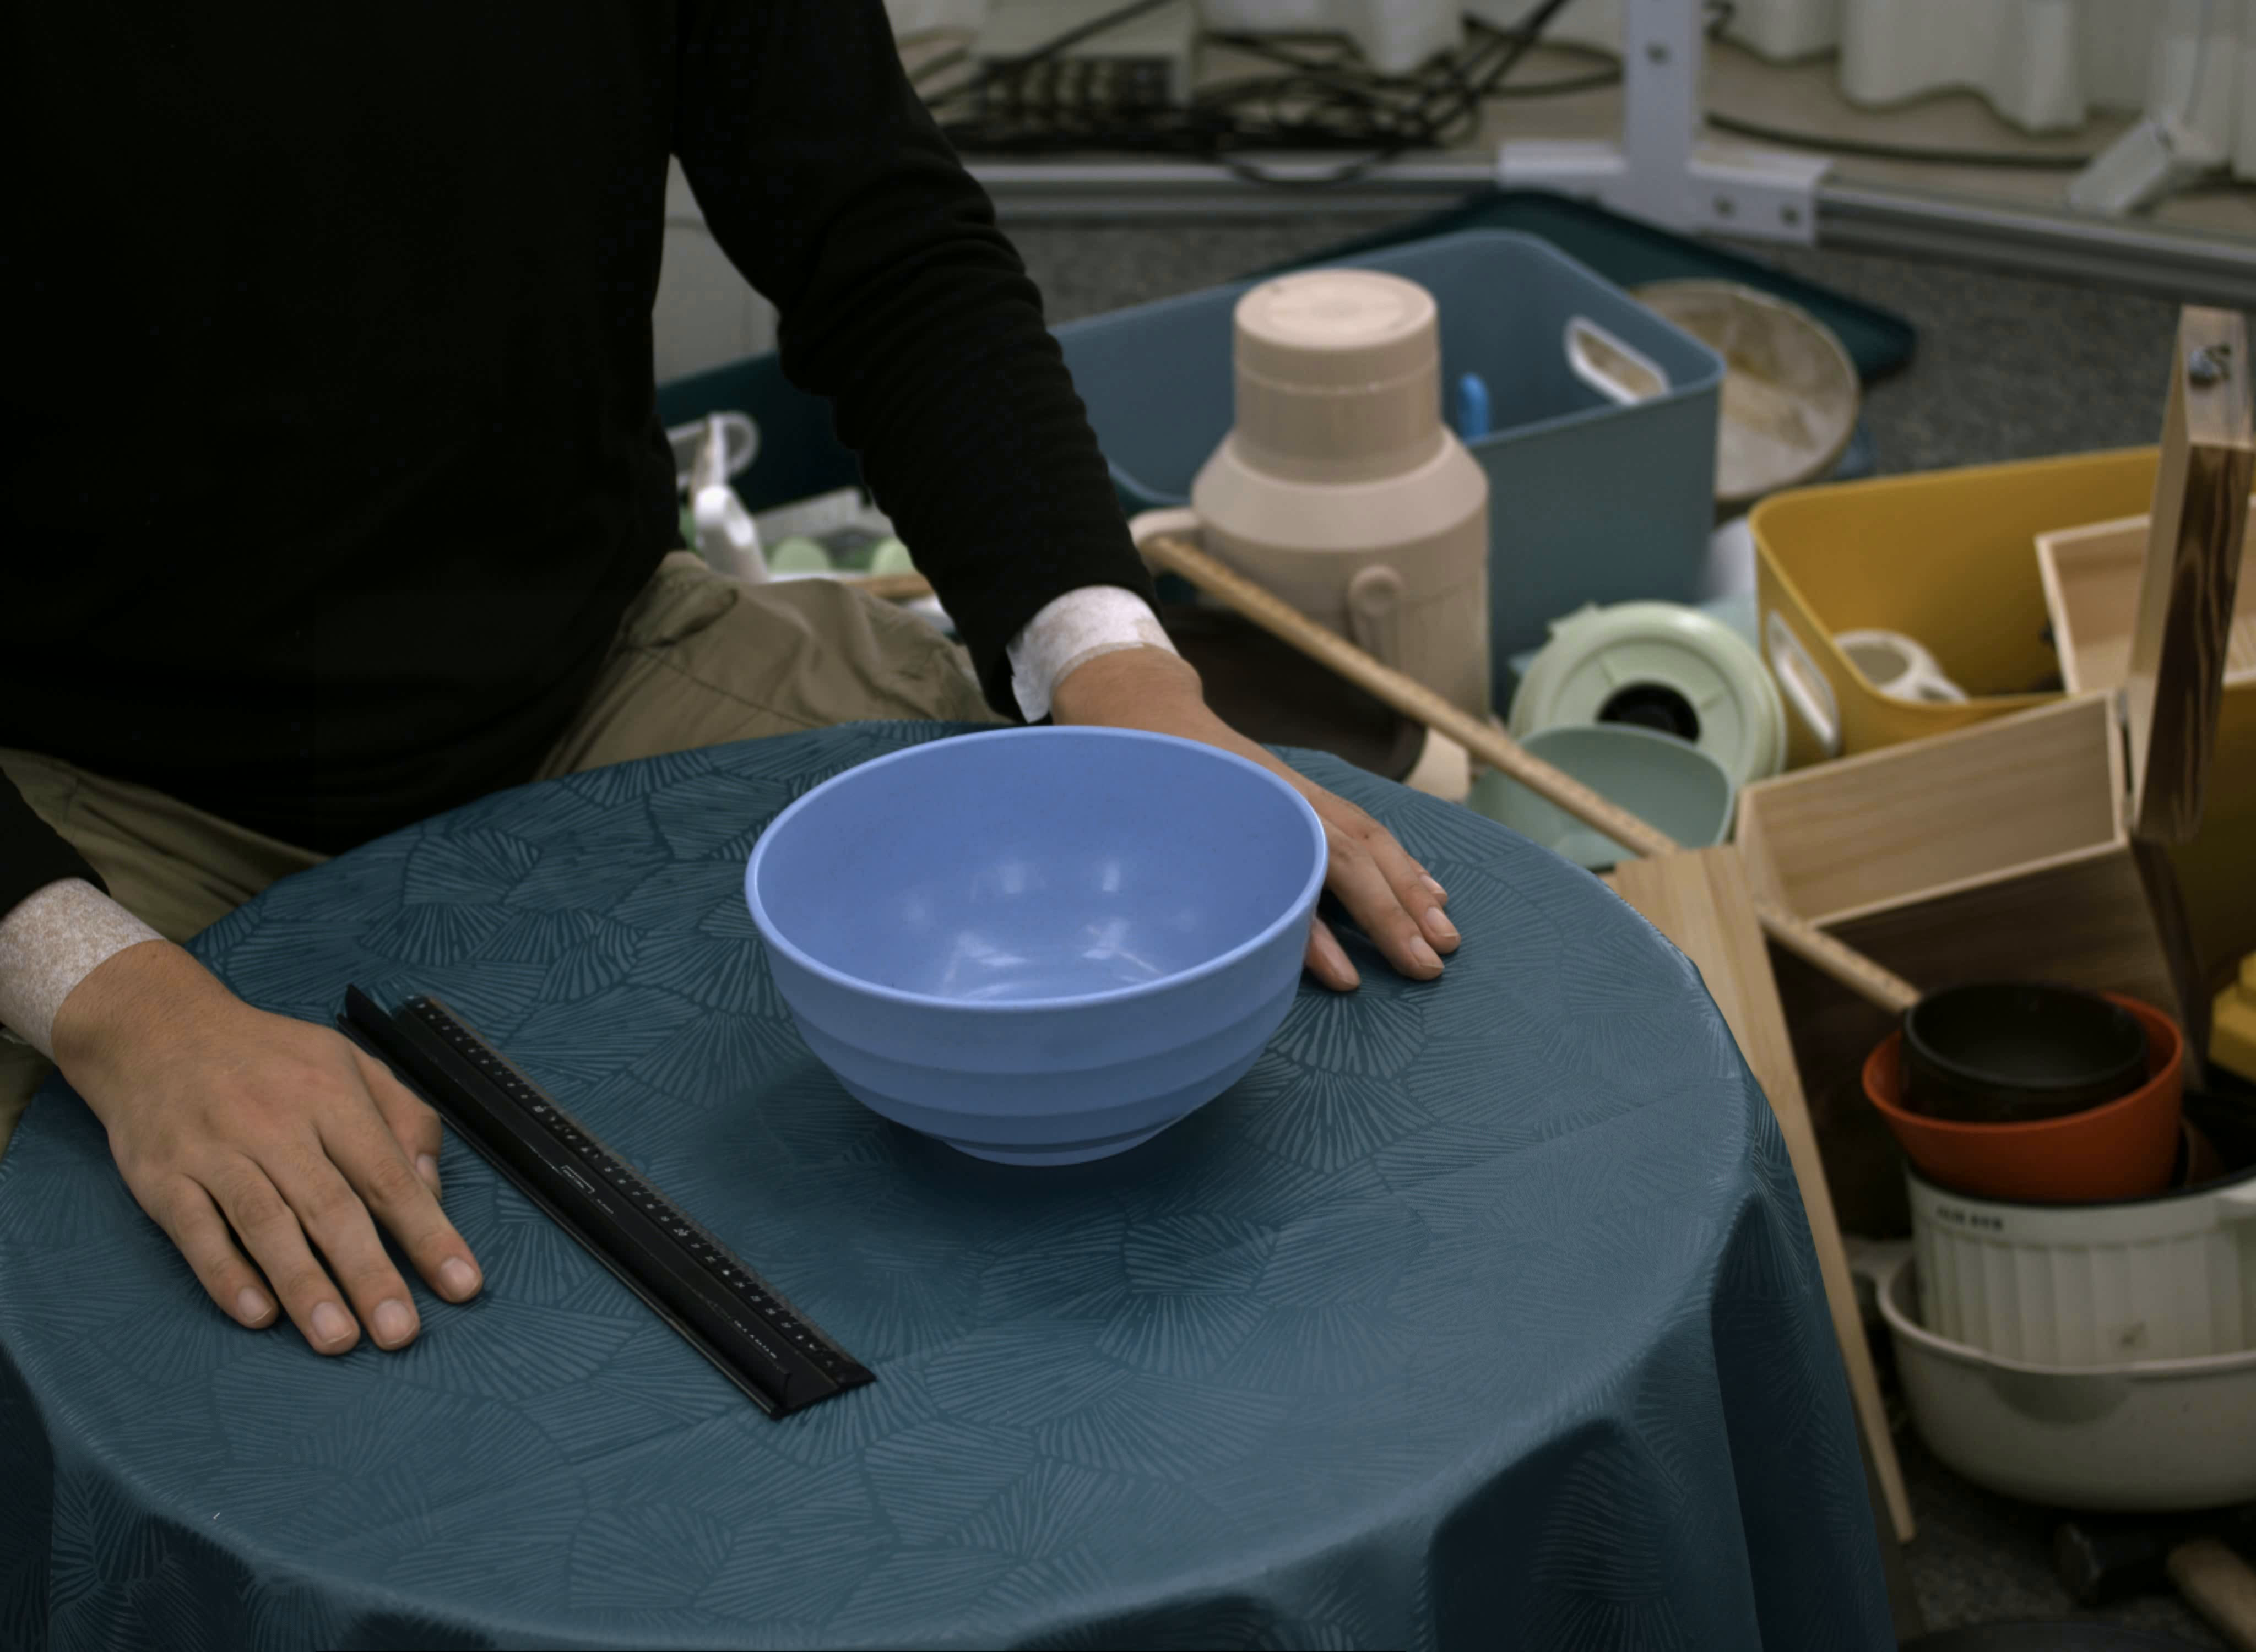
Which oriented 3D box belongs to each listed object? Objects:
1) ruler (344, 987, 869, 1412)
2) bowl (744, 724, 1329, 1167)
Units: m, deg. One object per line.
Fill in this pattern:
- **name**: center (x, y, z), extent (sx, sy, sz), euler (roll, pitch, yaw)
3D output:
- **ruler**: center (-0.178, 0.116, 1.871), extent (0.039, 0.017, 0.313), euler (-13, 28, -30)
- **bowl**: center (-0.029, 0.051, 1.897), extent (0.195, 0.094, 0.199), euler (-2, 27, 1)
